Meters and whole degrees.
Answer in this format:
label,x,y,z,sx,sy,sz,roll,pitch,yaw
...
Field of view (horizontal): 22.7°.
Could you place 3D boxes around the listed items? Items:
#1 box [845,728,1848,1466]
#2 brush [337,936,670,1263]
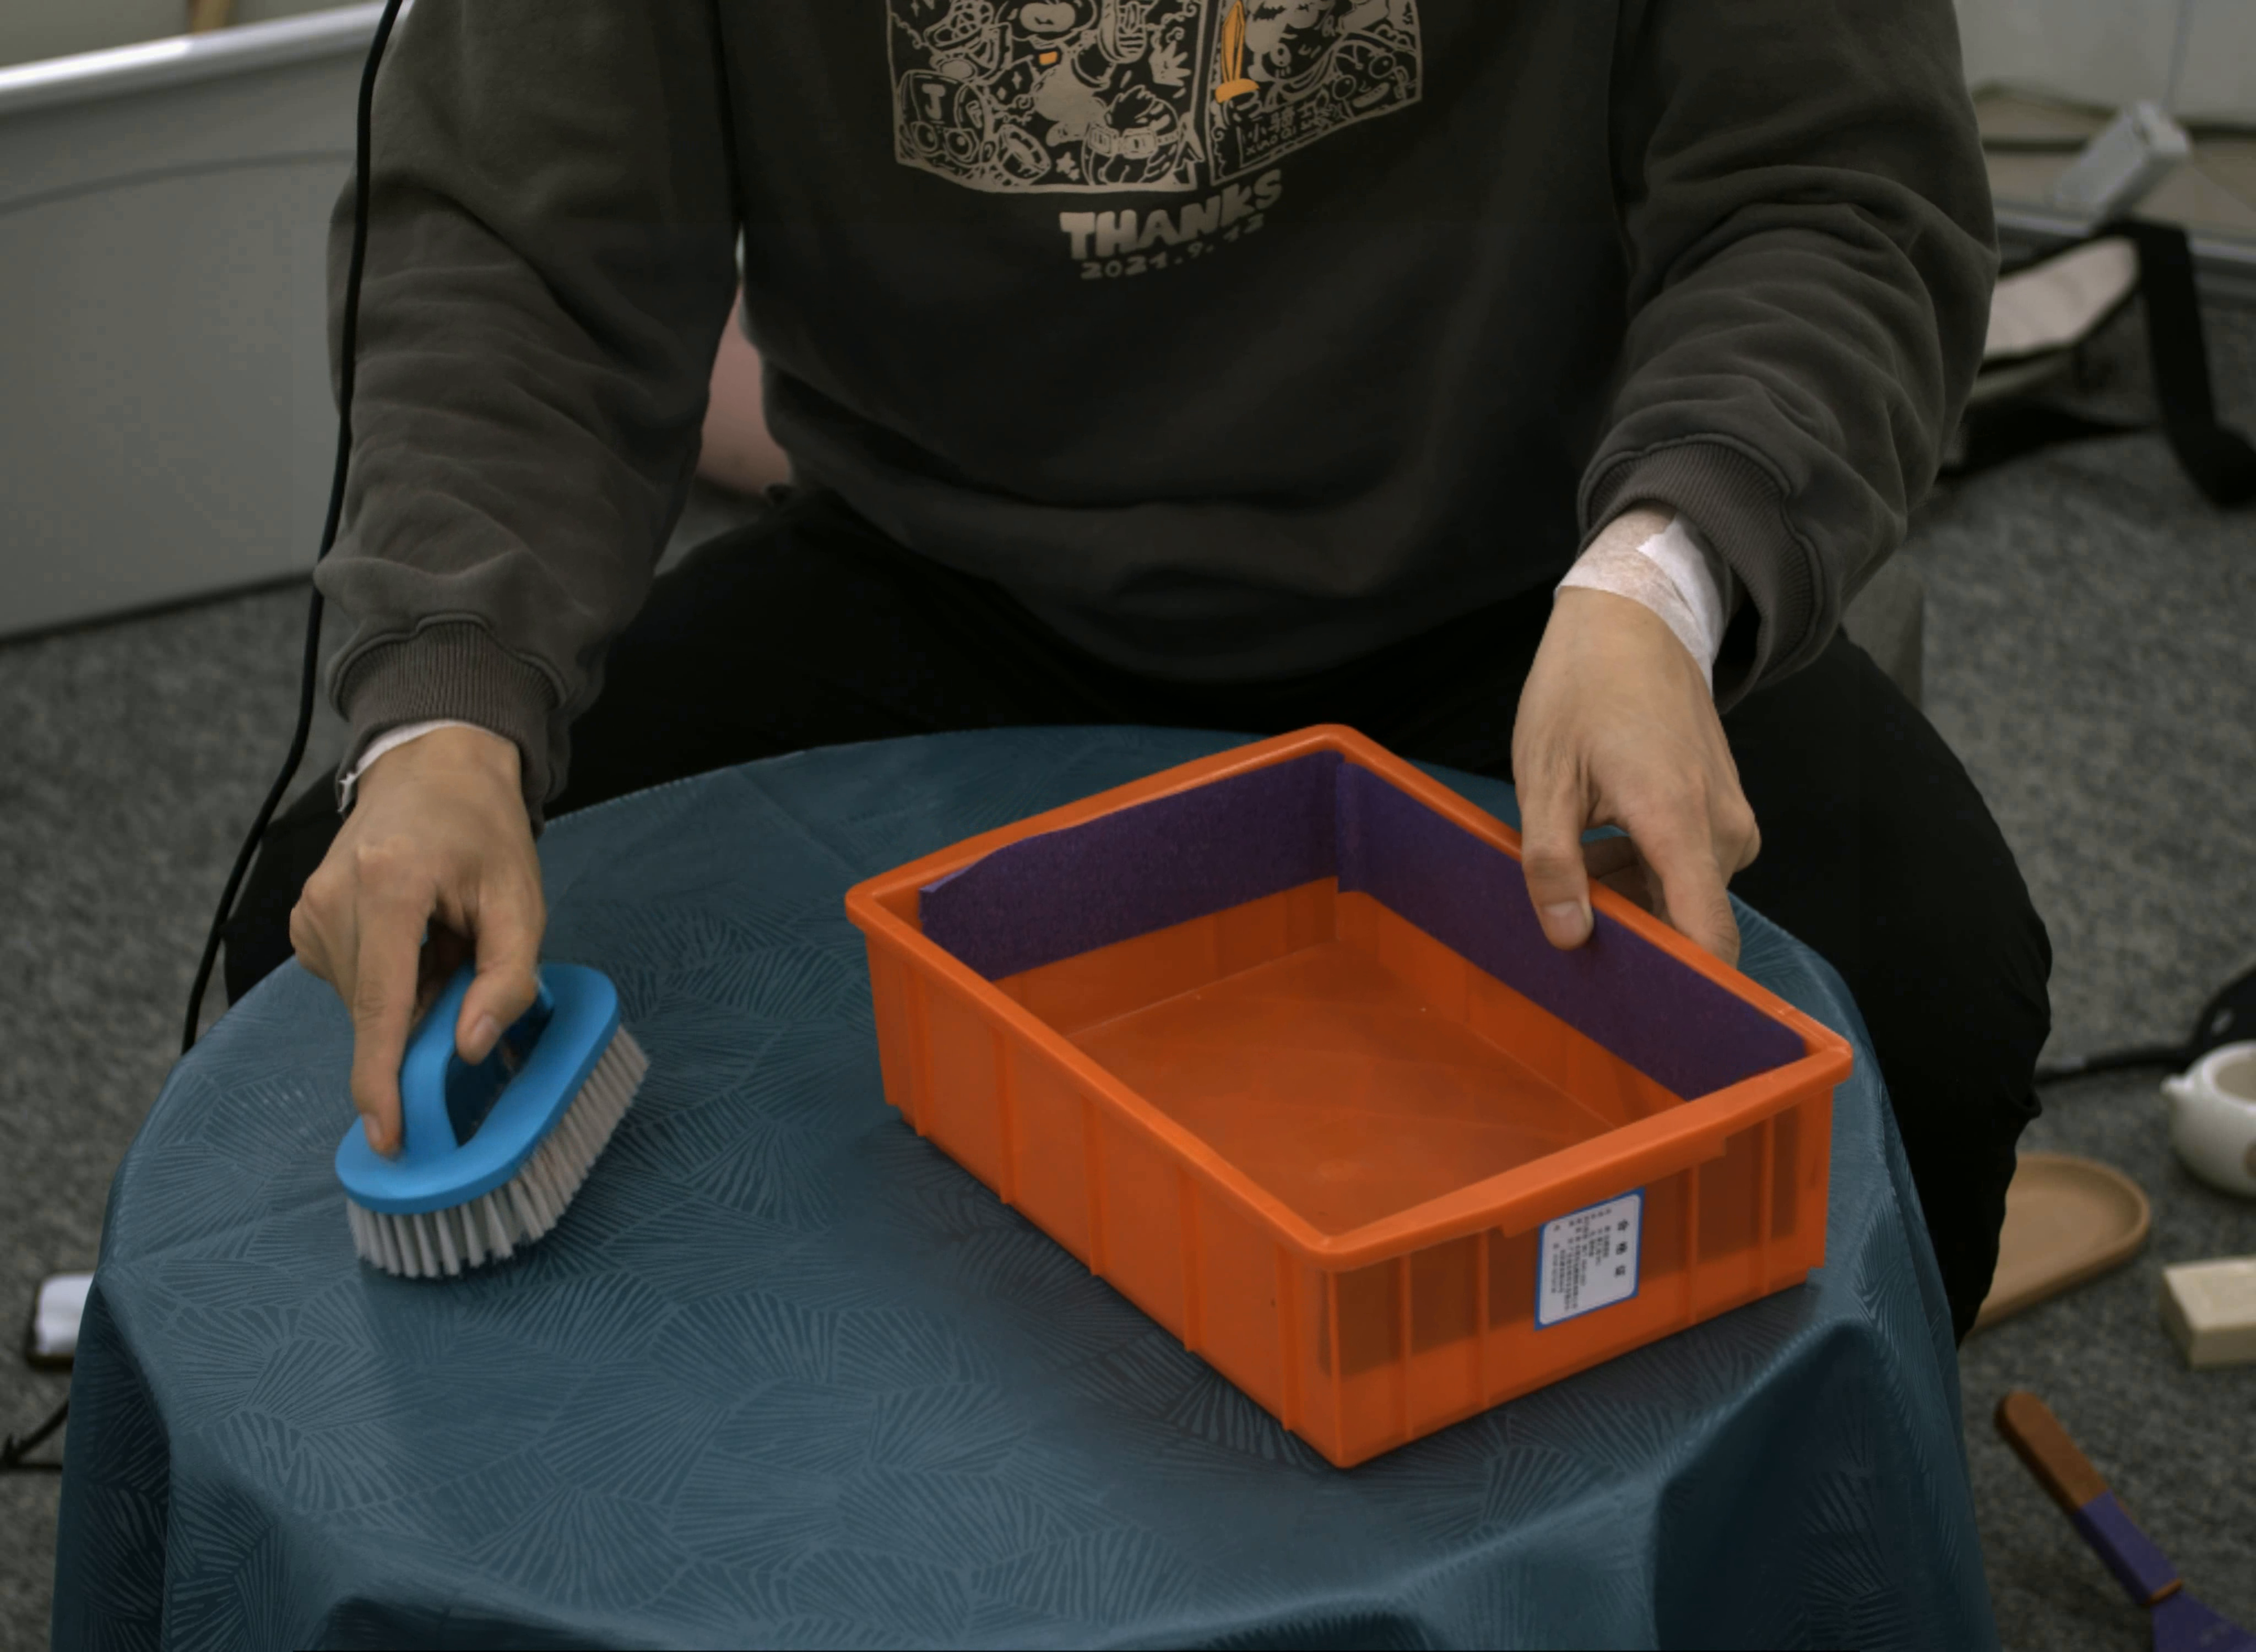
label,x,y,z,sx,sy,sz,roll,pitch,yaw
box,0.067,0.084,1.835,0.208,0.095,0.305,-18,31,-27
brush,-0.213,0.081,1.868,0.083,0.063,0.144,-6,29,26
